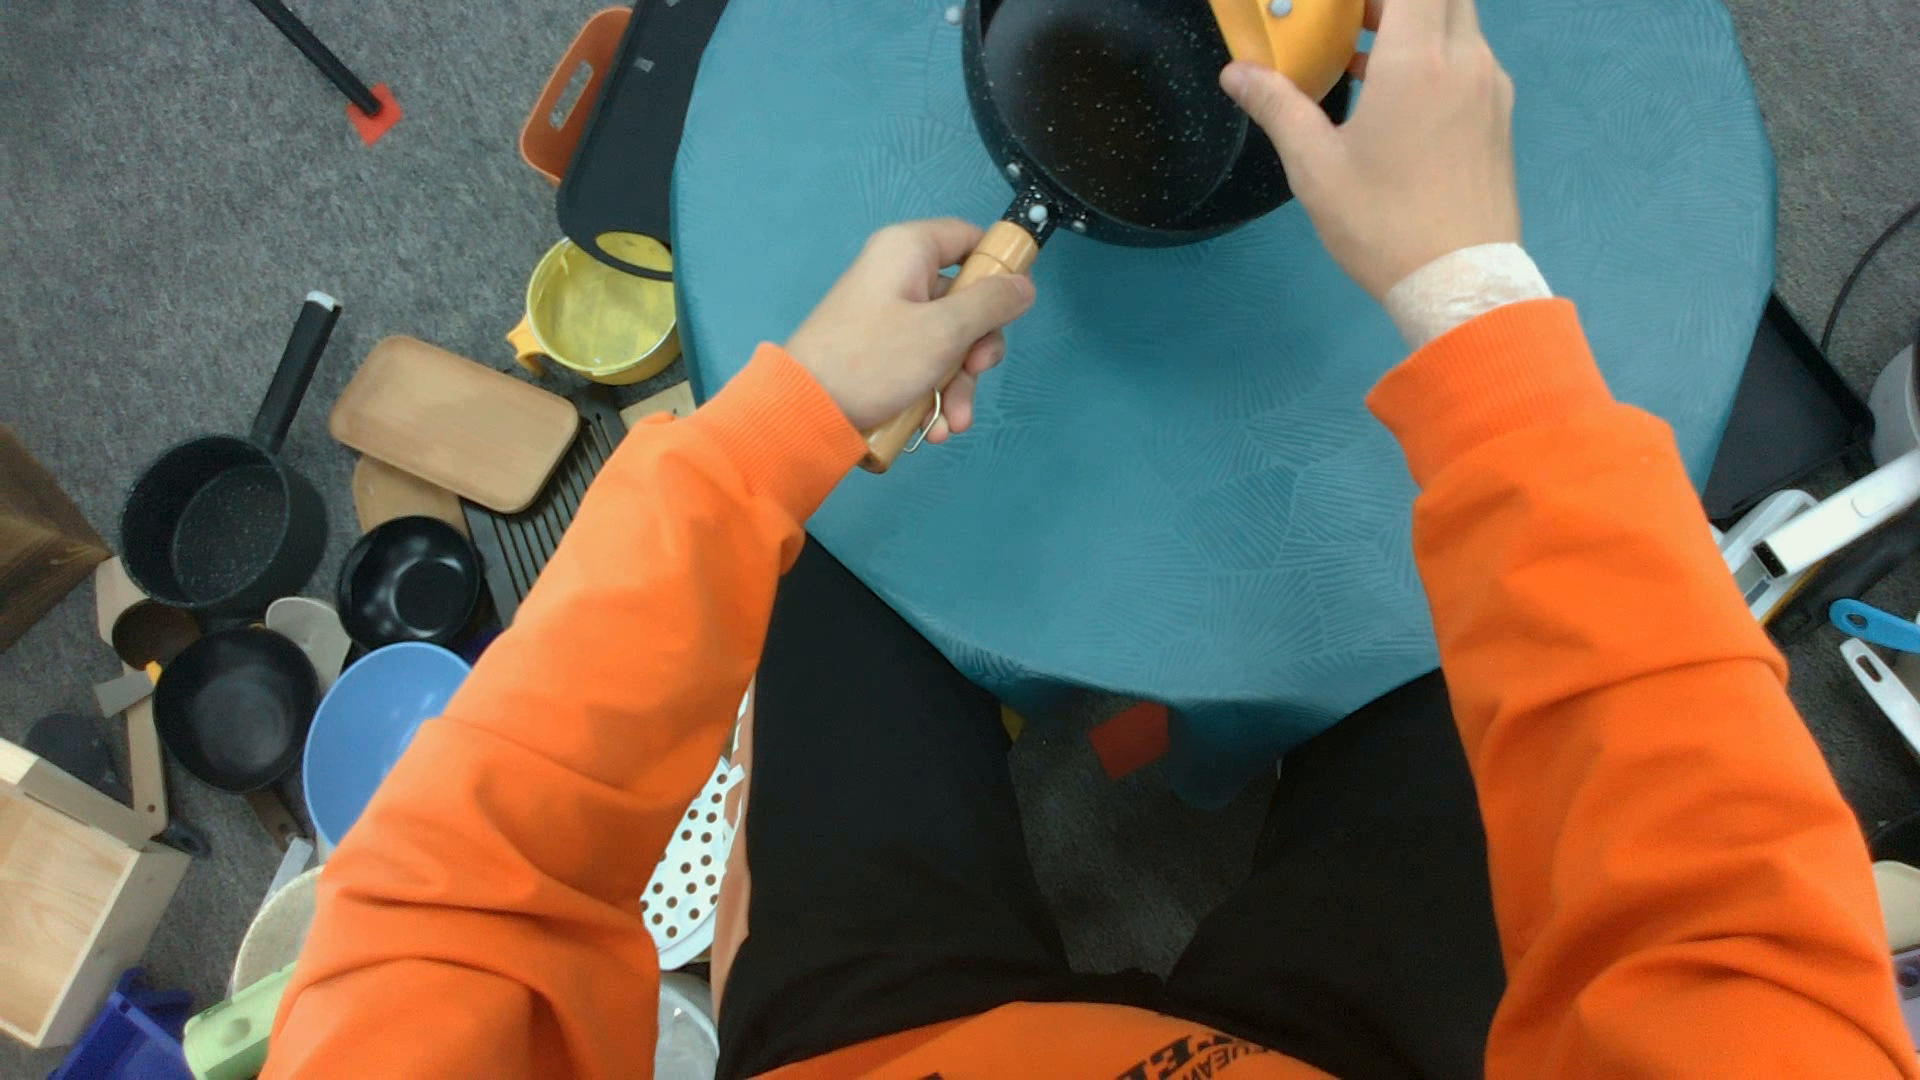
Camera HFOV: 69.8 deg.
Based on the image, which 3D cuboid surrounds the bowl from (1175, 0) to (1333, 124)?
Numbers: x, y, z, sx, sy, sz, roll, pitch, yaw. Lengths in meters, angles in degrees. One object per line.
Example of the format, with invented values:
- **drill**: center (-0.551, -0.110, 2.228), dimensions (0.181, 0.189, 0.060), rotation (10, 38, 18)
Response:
- **bowl**: center (0.128, -0.261, 0.600), dimensions (0.060, 0.145, 0.145), rotation (-22, 75, 6)

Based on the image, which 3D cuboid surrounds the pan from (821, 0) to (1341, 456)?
- **pan**: center (0.039, -0.174, 0.648), dimensions (0.207, 0.108, 0.343), rotation (37, 80, -12)
